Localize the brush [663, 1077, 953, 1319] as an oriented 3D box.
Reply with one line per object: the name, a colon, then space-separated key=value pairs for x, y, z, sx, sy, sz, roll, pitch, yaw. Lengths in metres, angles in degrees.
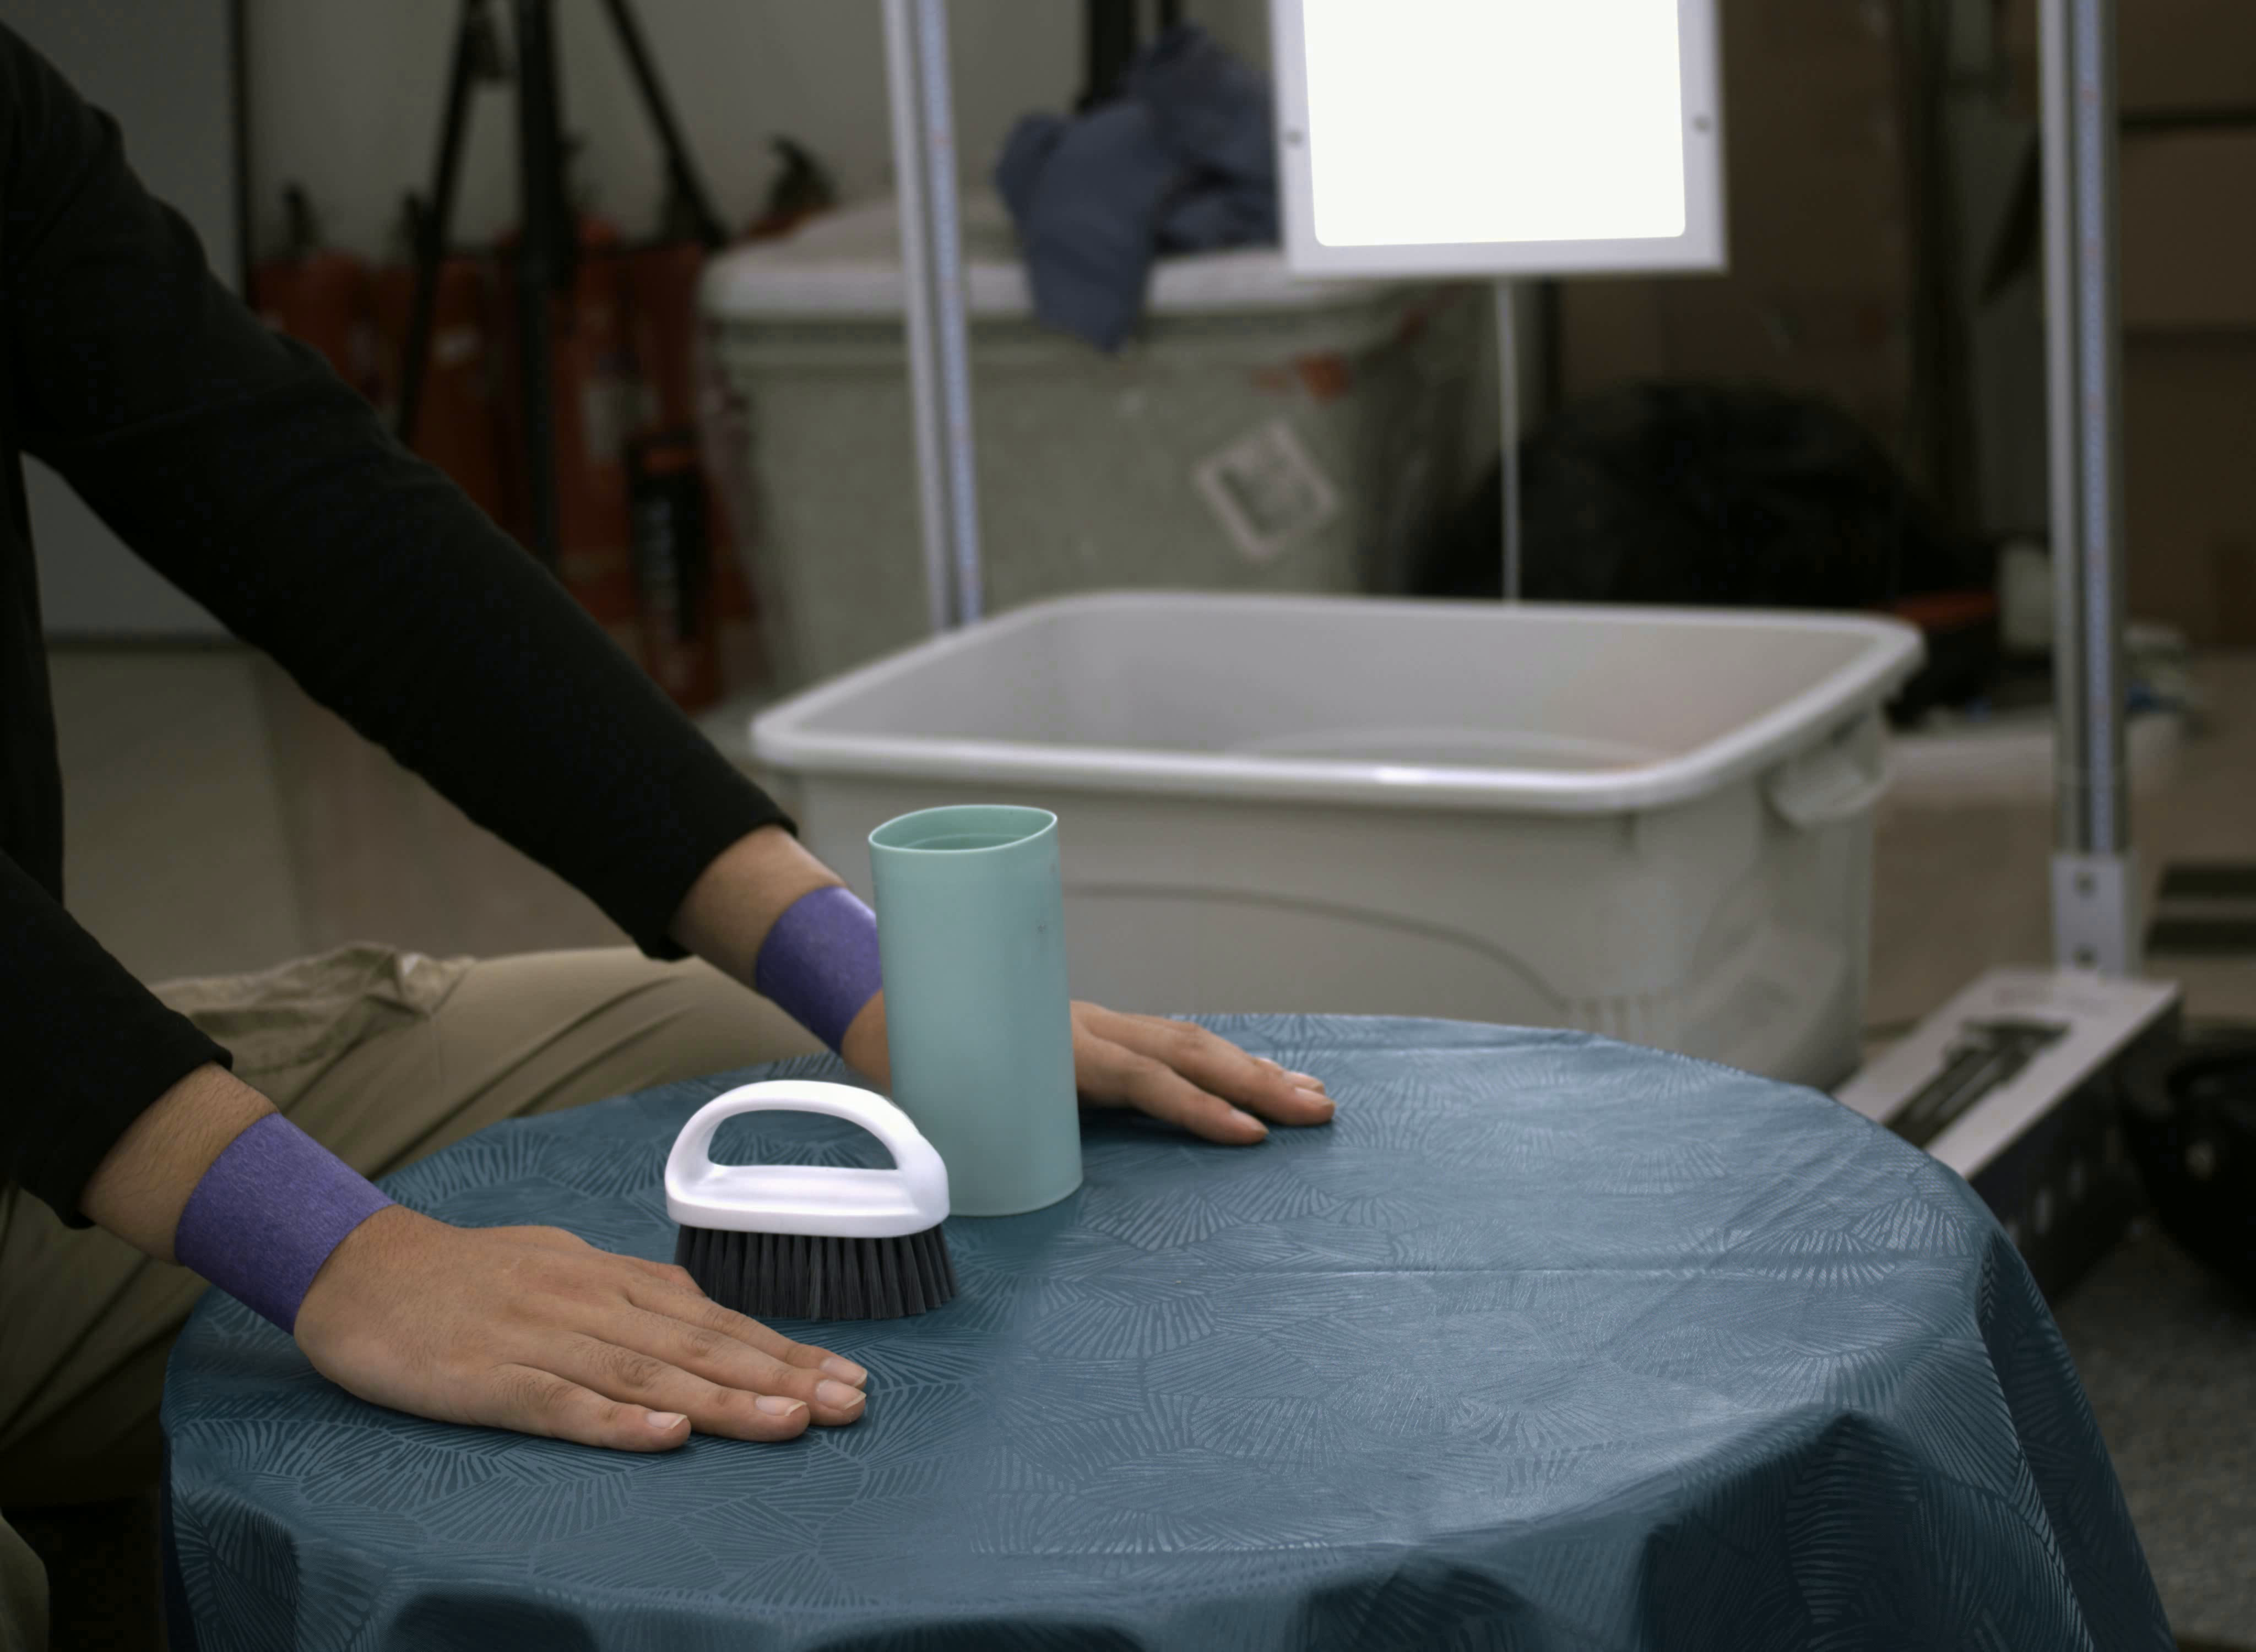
brush: x=-0.107 y=0.119 z=1.811 sx=0.101 sy=0.073 sz=0.049 roll=3 pitch=15 yaw=26

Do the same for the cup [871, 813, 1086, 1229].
cup: x=-0.051 y=0.067 z=1.899 sx=0.066 sy=0.133 sz=0.066 roll=-4 pitch=14 yaw=0
